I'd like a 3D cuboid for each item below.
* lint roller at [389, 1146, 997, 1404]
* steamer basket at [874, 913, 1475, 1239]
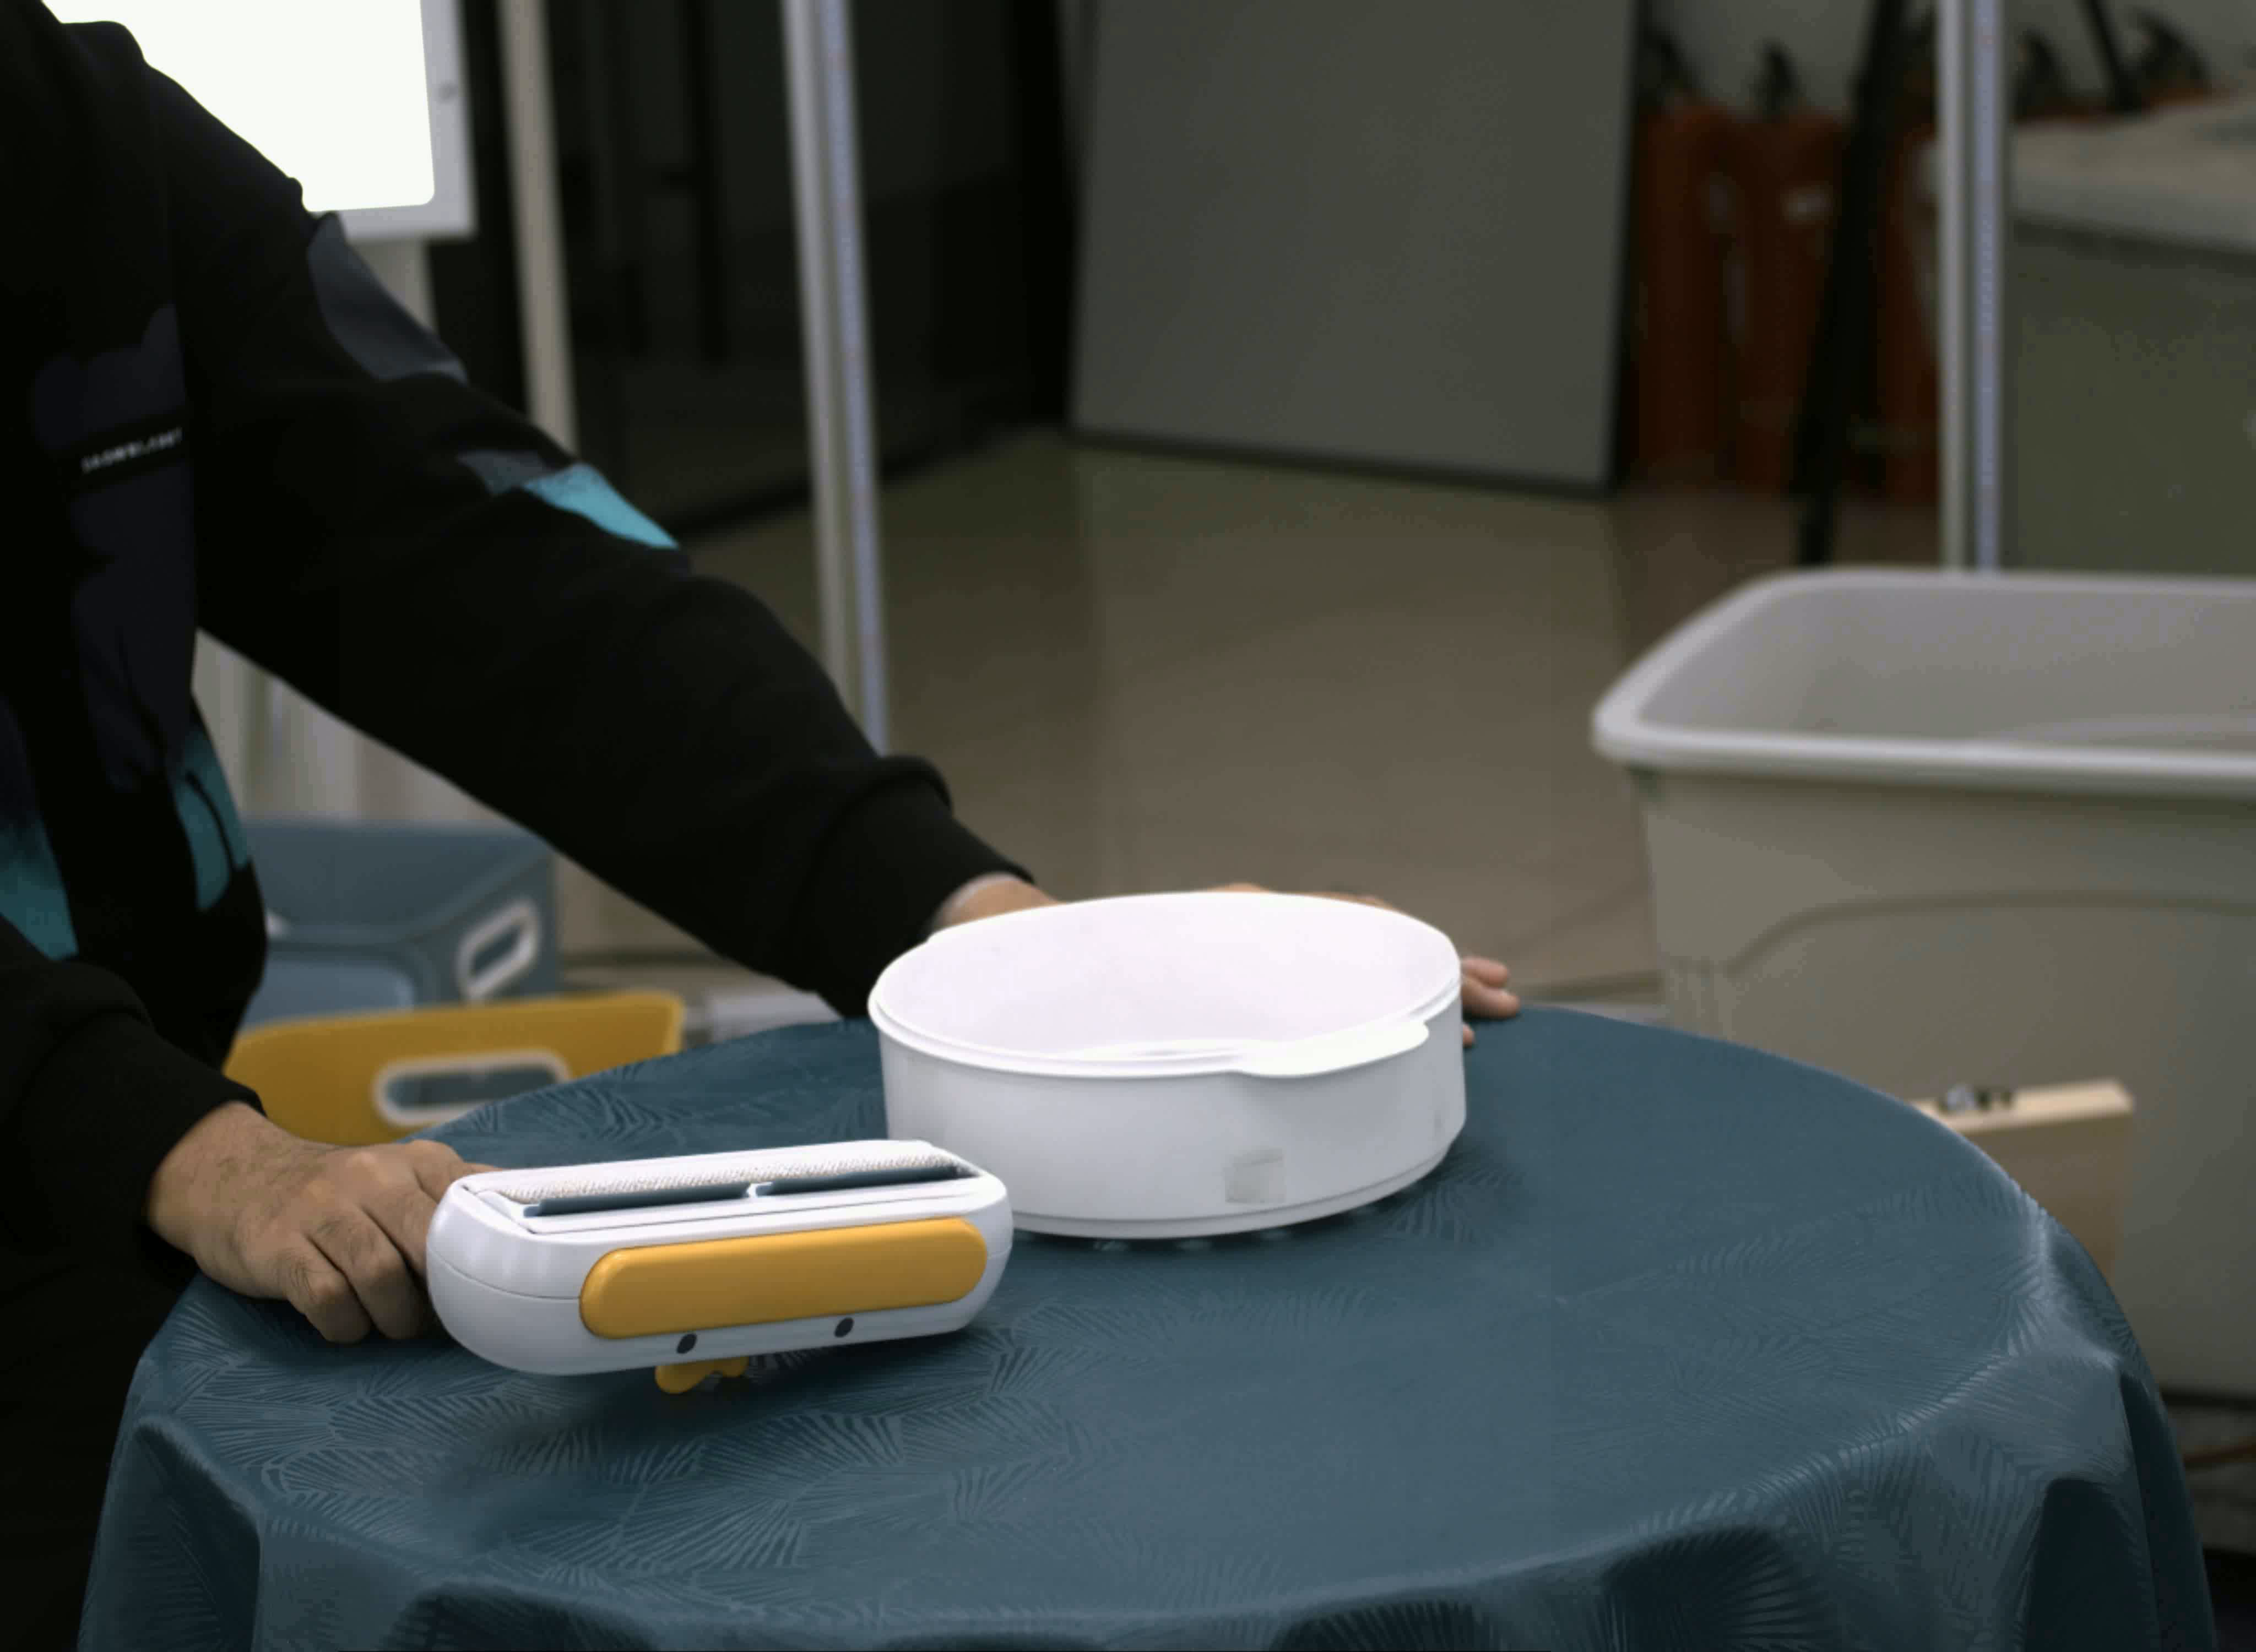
[{"bbox_3d":[-0.159,0.127,1.653,0.188,0.075,0.194,-7,11,-33],"label":"lint roller"},{"bbox_3d":[0.017,0.083,1.784,0.197,0.070,0.233,-11,13,-30],"label":"steamer basket"}]
